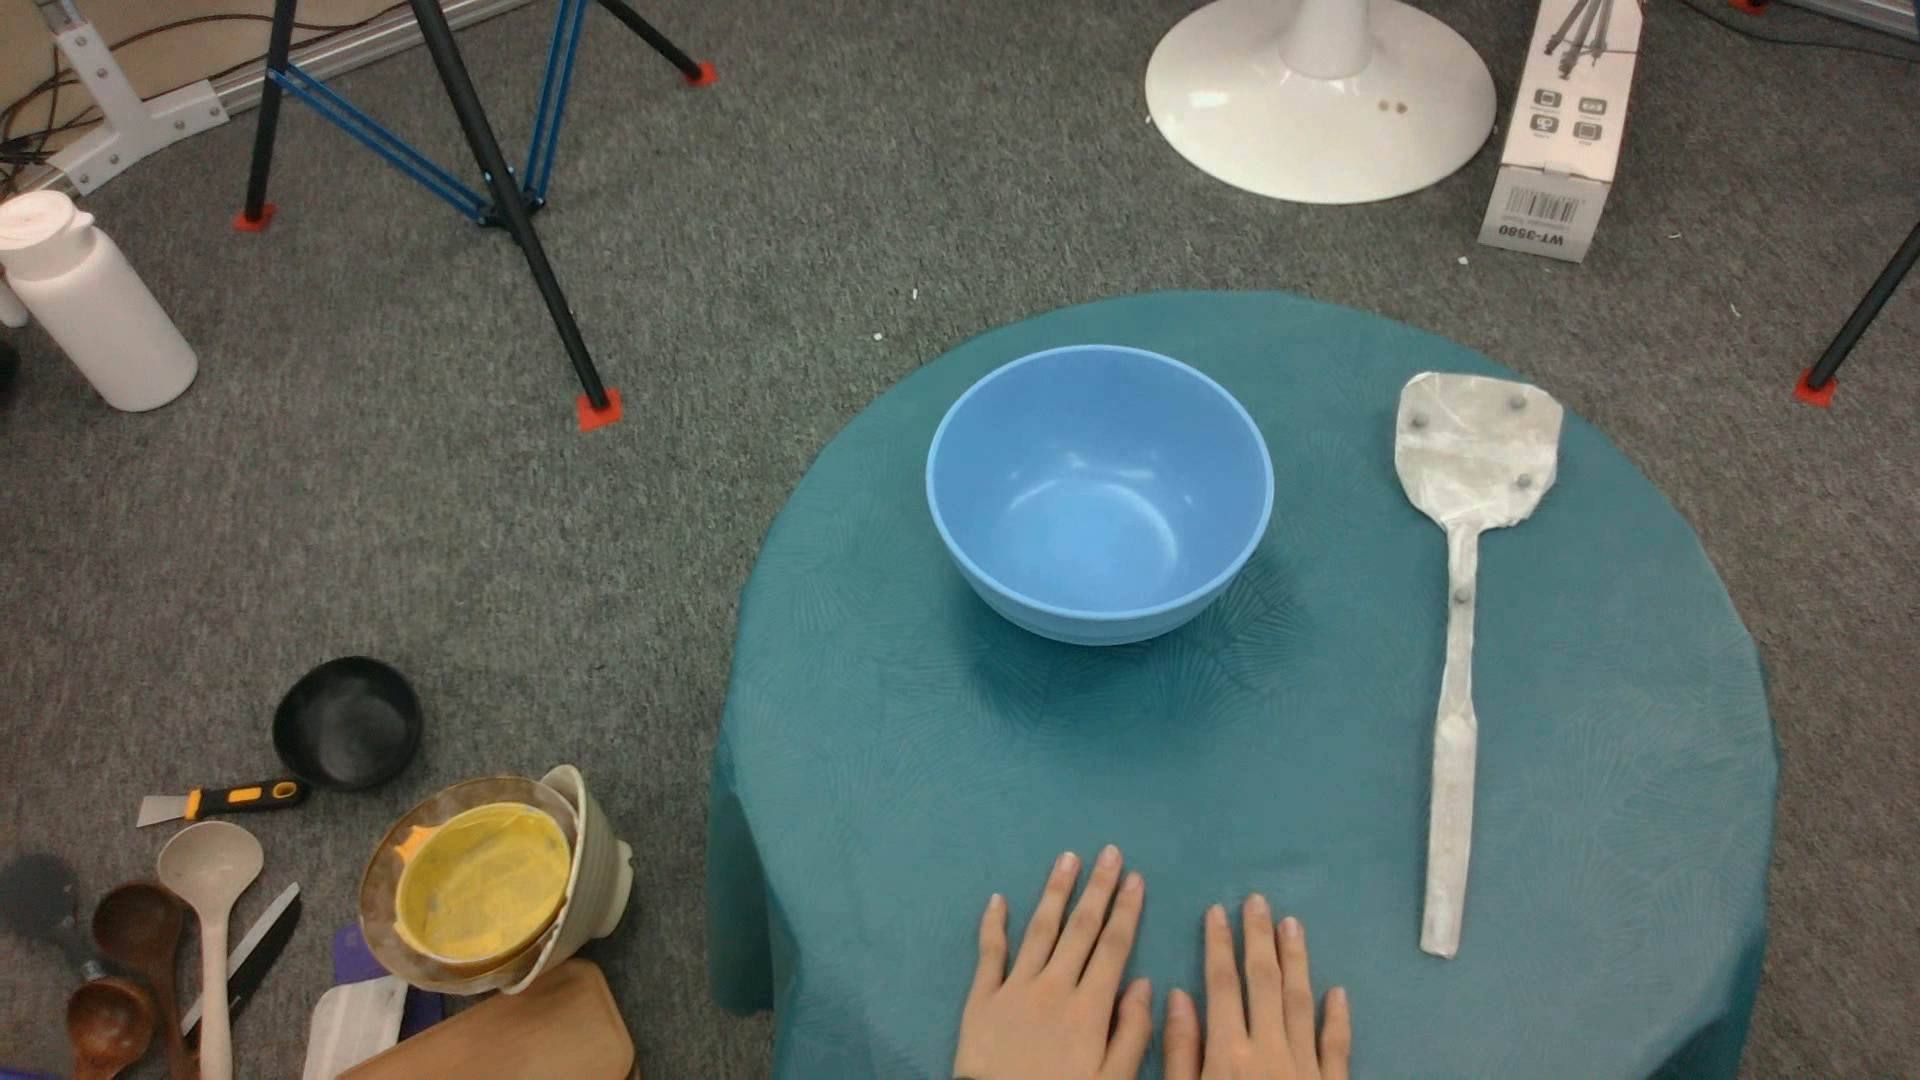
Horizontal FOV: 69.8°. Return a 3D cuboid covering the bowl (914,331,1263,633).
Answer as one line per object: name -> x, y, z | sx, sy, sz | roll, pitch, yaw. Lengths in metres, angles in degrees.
bowl -> 0.072, -0.020, 0.813 | 0.196, 0.095, 0.197 | 0, 54, 0

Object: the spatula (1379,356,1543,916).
spatula -> 0.277, 0.042, 0.798 | 0.098, 0.044, 0.366 | 13, 56, 9
